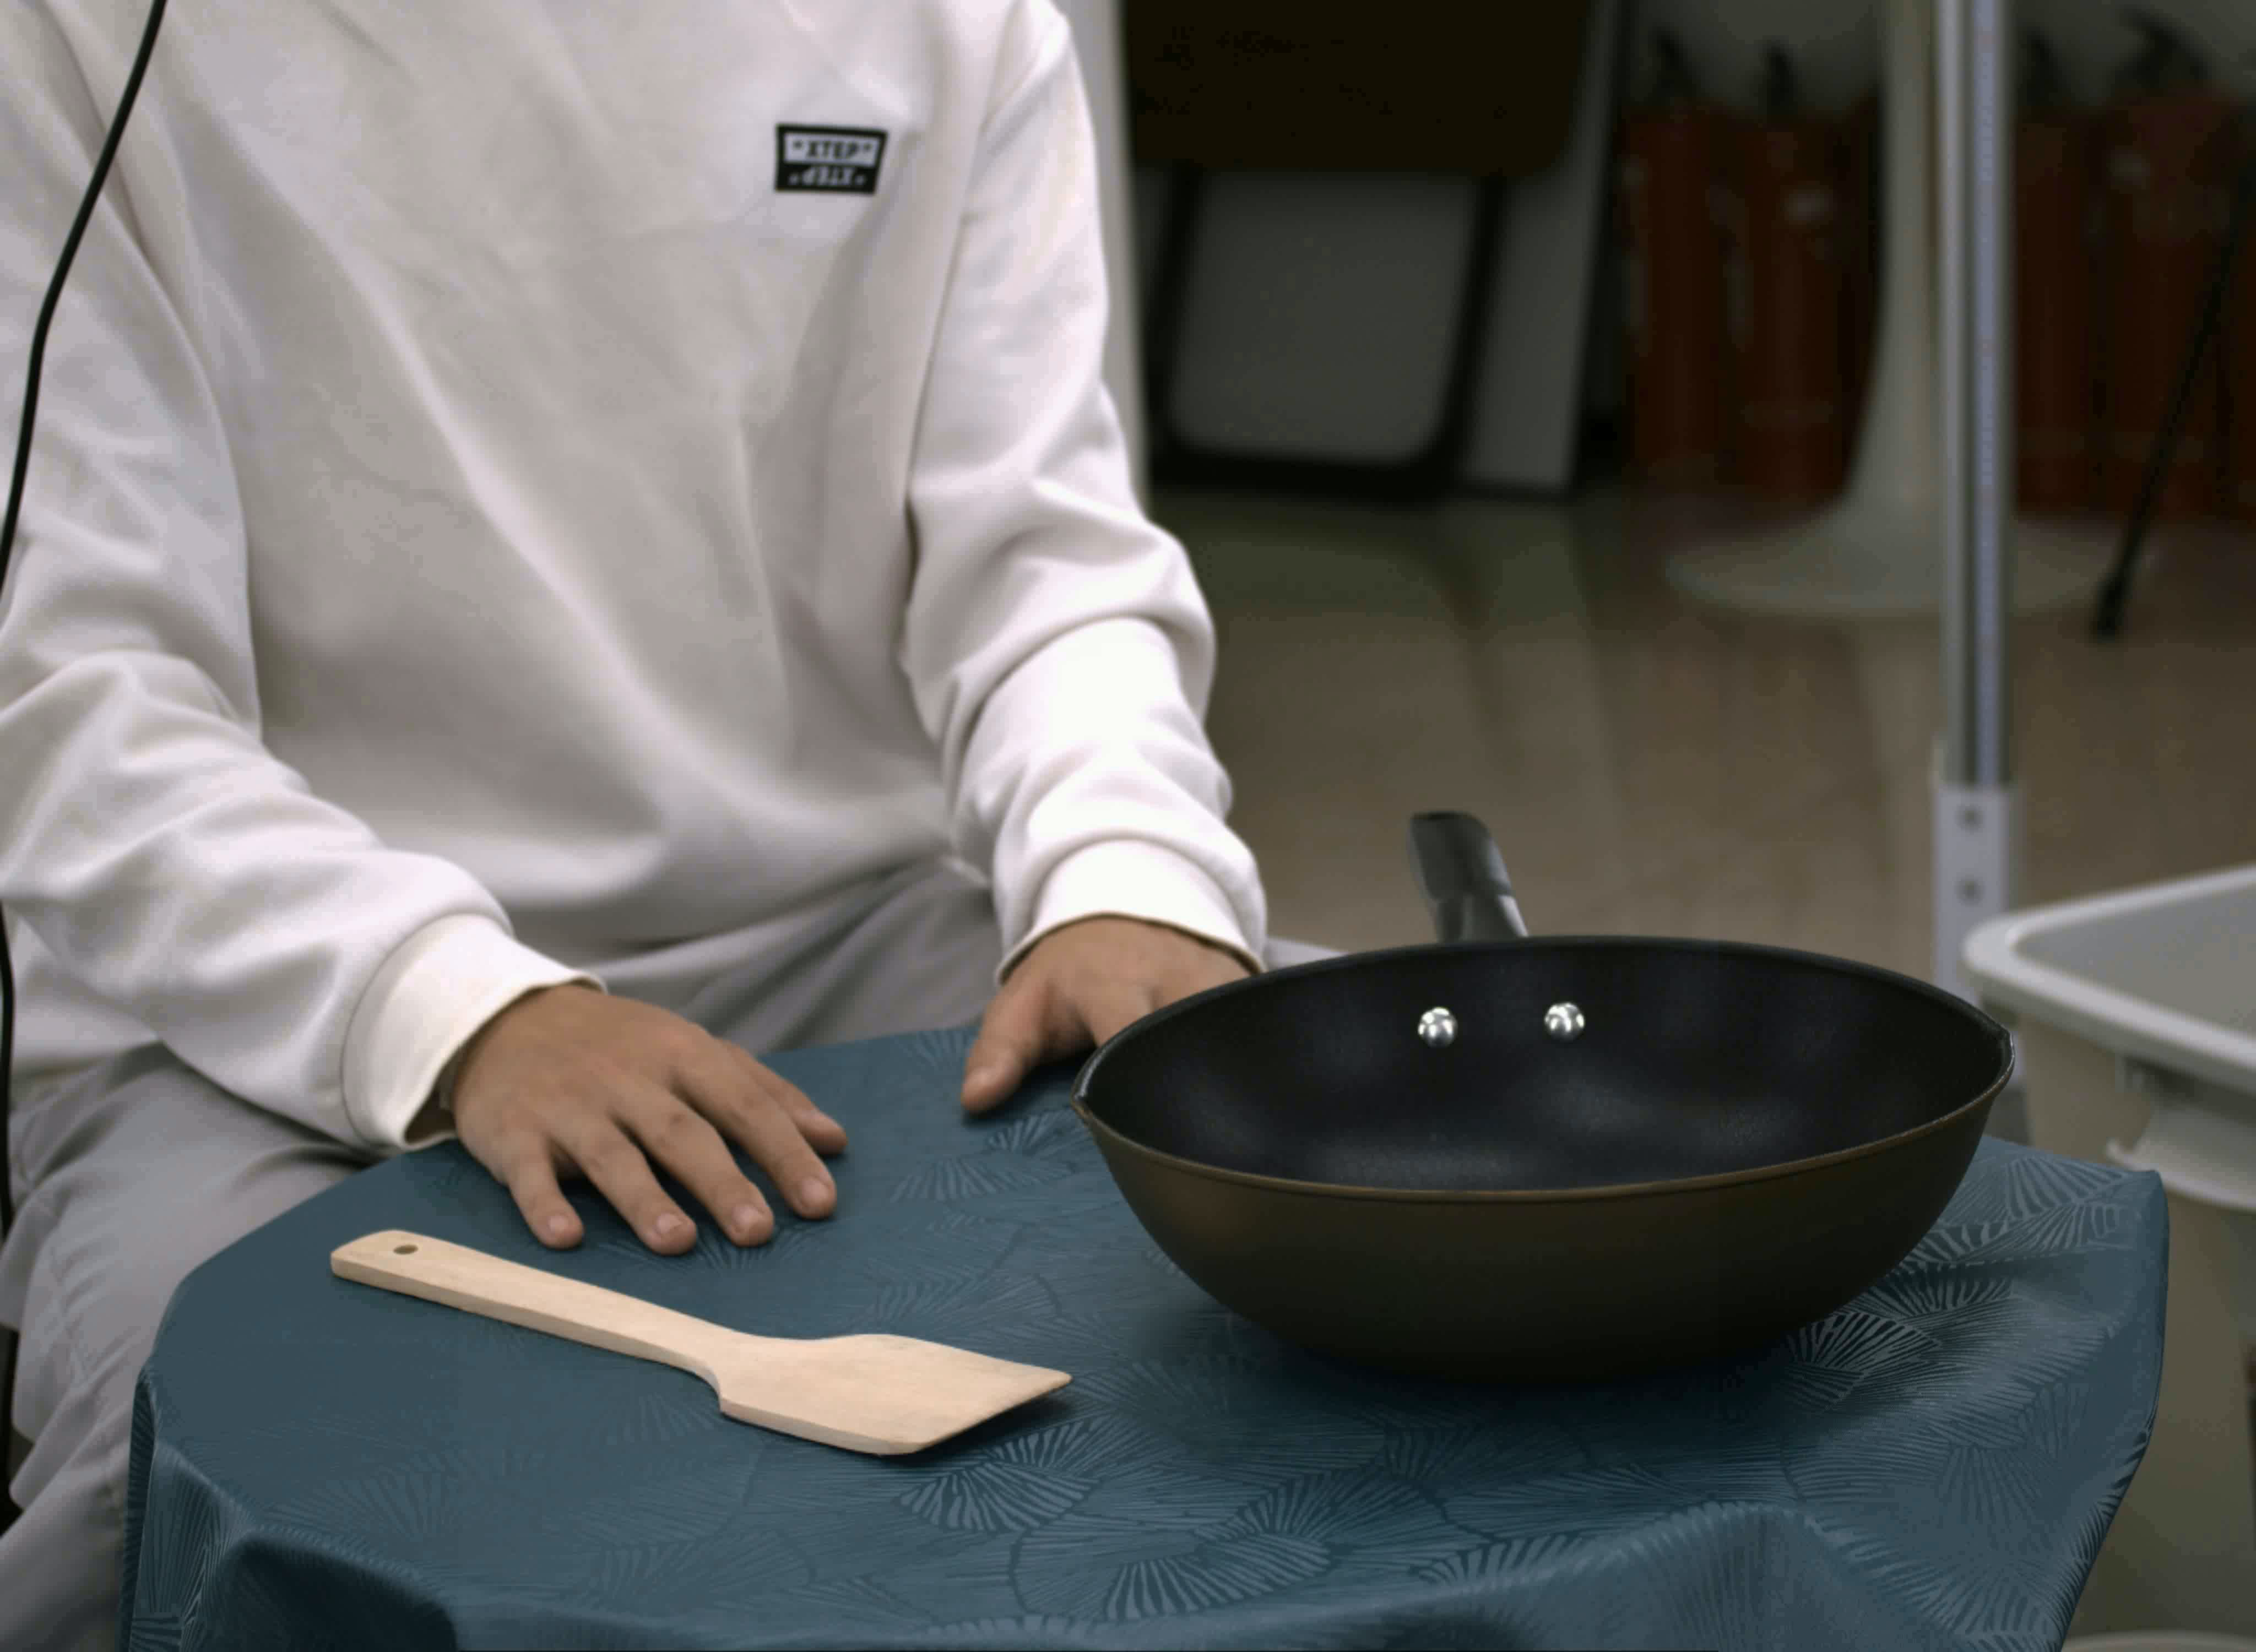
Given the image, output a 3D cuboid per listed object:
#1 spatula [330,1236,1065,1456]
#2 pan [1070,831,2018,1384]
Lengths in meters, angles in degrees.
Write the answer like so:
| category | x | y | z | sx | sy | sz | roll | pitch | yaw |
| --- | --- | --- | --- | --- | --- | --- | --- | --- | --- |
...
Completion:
| category | x | y | z | sx | sy | sz | roll | pitch | yaw |
| --- | --- | --- | --- | --- | --- | --- | --- | --- | --- |
| spatula | -0.145 | 0.156 | 1.654 | 0.295 | 0.011 | 0.071 | 9 | 19 | 43 |
| pan | 0.123 | 0.087 | 1.711 | 0.284 | 0.088 | 0.464 | -3 | 12 | -1 |
